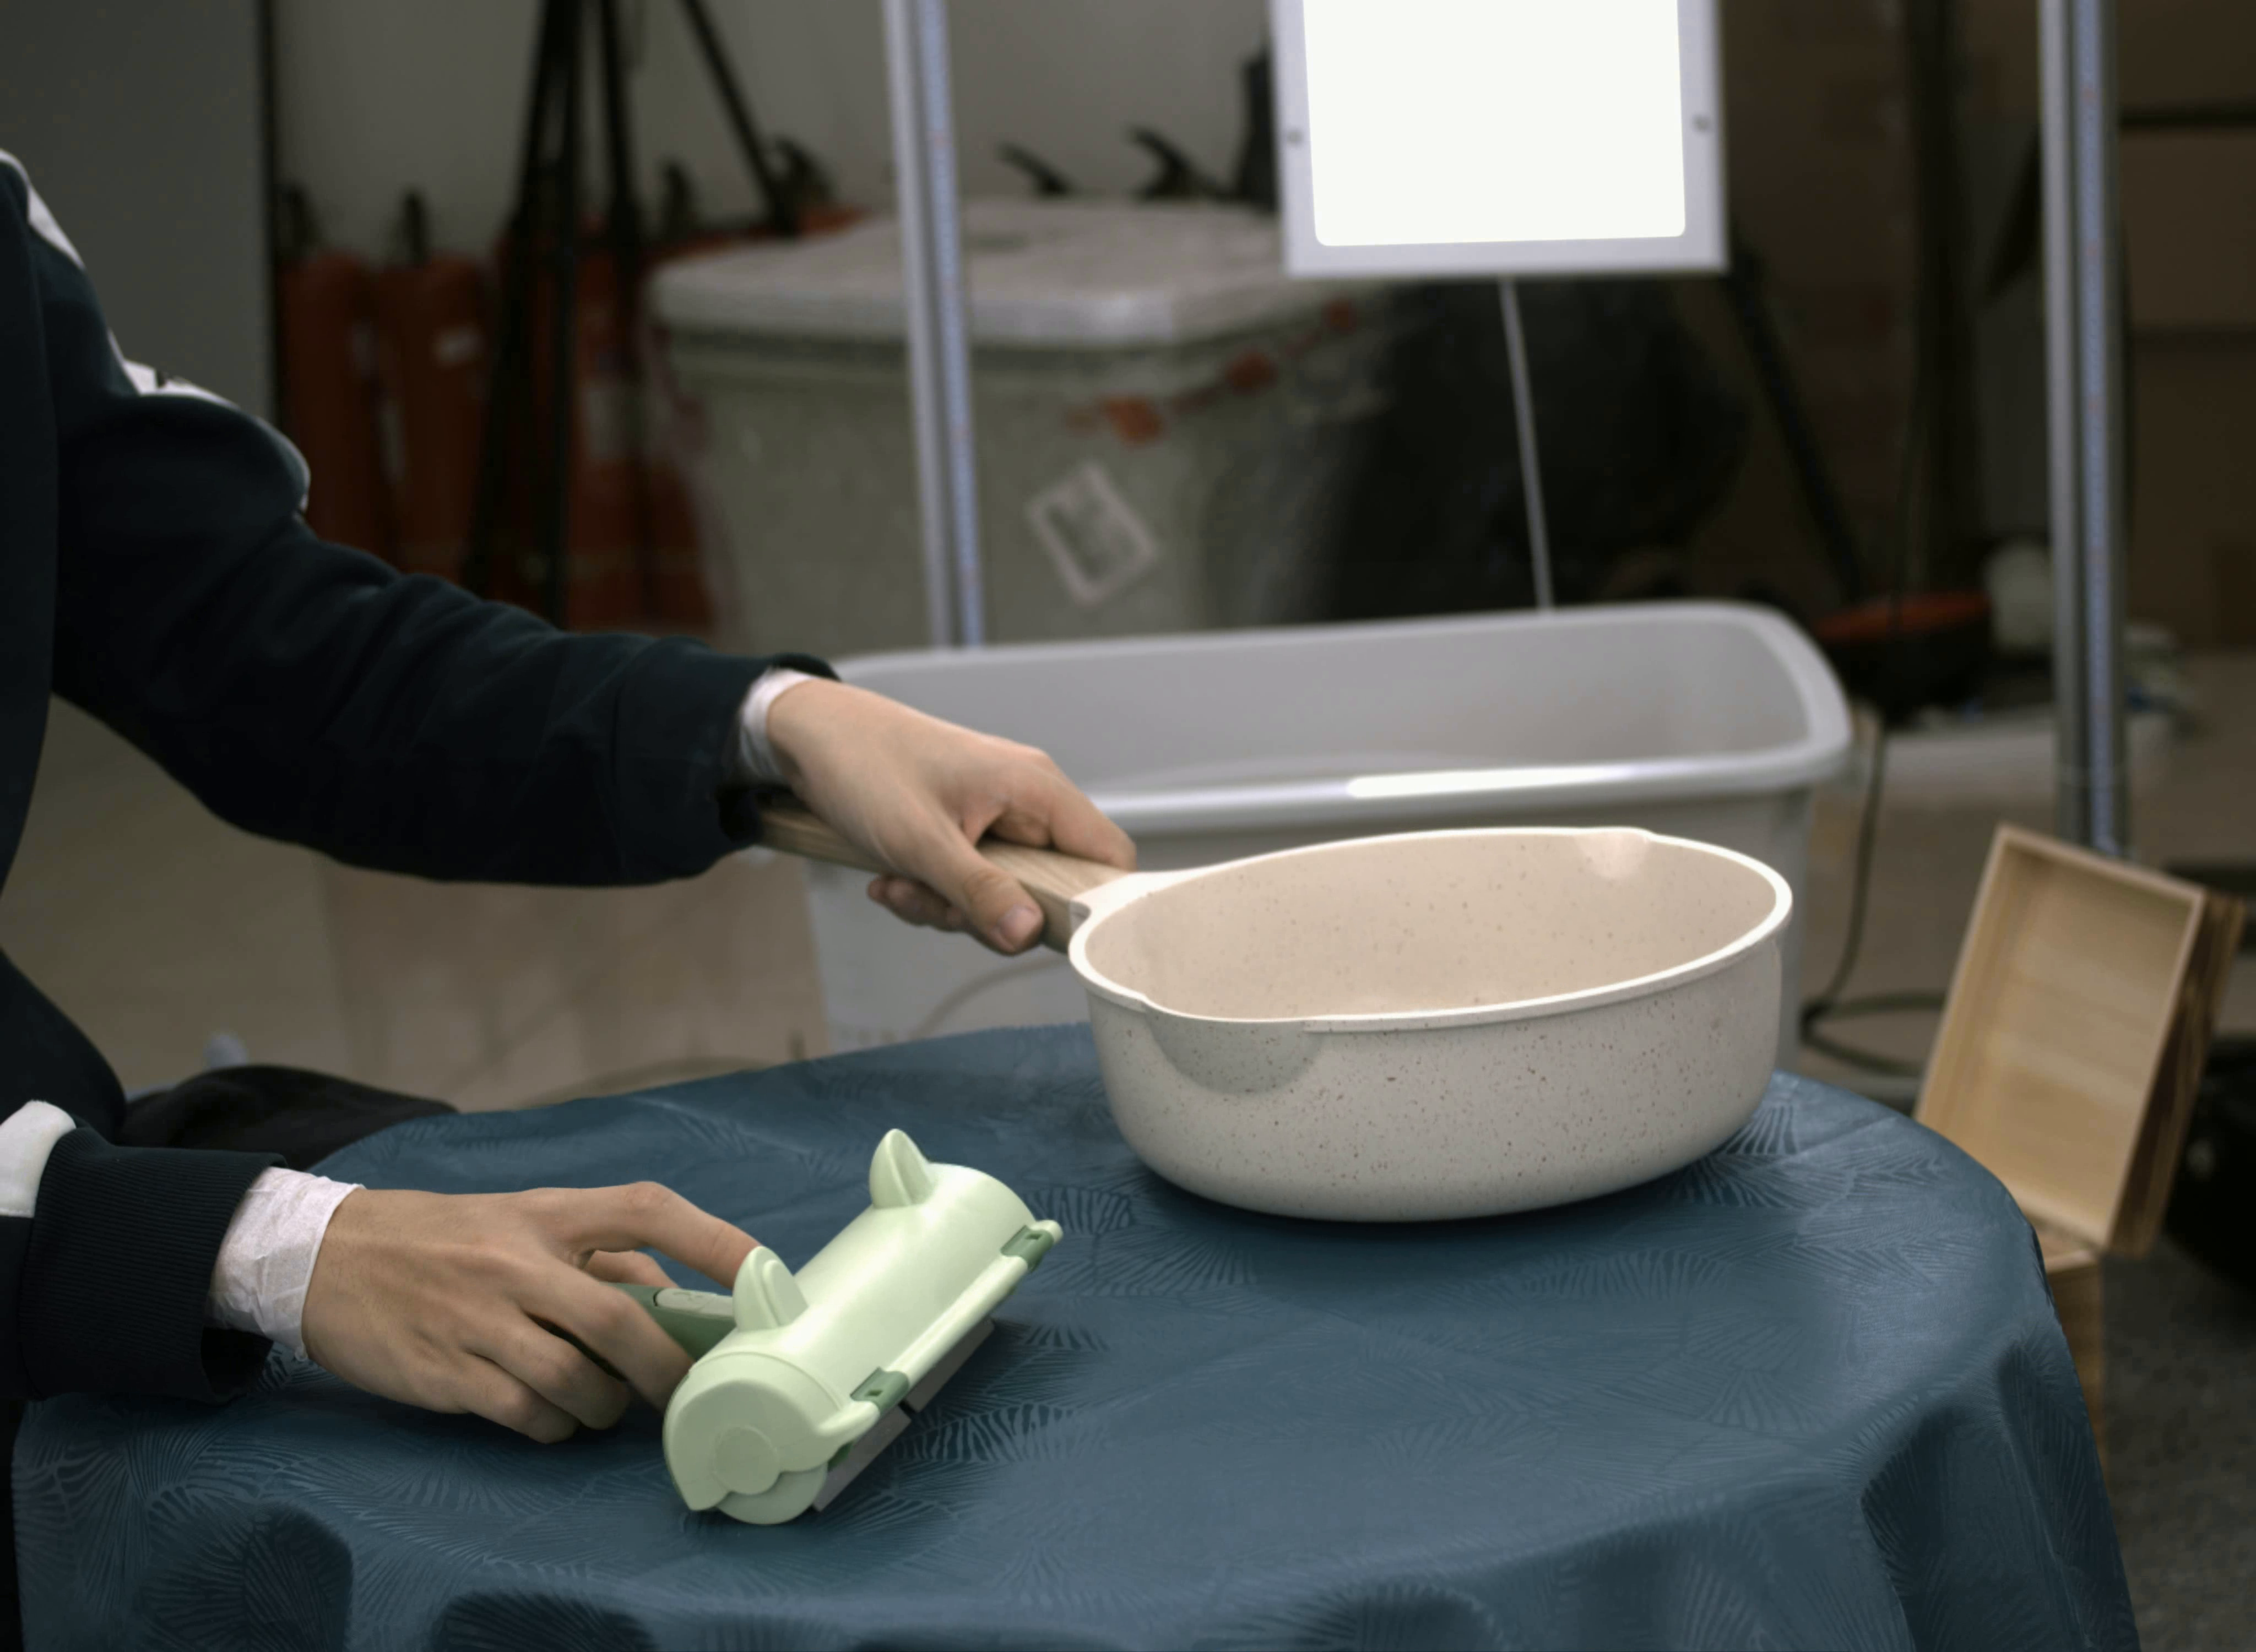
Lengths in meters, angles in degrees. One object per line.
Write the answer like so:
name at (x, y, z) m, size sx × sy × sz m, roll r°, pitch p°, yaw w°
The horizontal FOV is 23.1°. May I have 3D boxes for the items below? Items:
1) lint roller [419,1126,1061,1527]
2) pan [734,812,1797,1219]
lint roller at (-0.135, 0.143, 1.708) m, size 0.185 × 0.082 × 0.195 m, roll 8°, pitch 17°, yaw 18°
pan at (0.036, 0.055, 1.963) m, size 0.444 × 0.102 × 0.257 m, roll 4°, pitch 18°, yaw 38°
